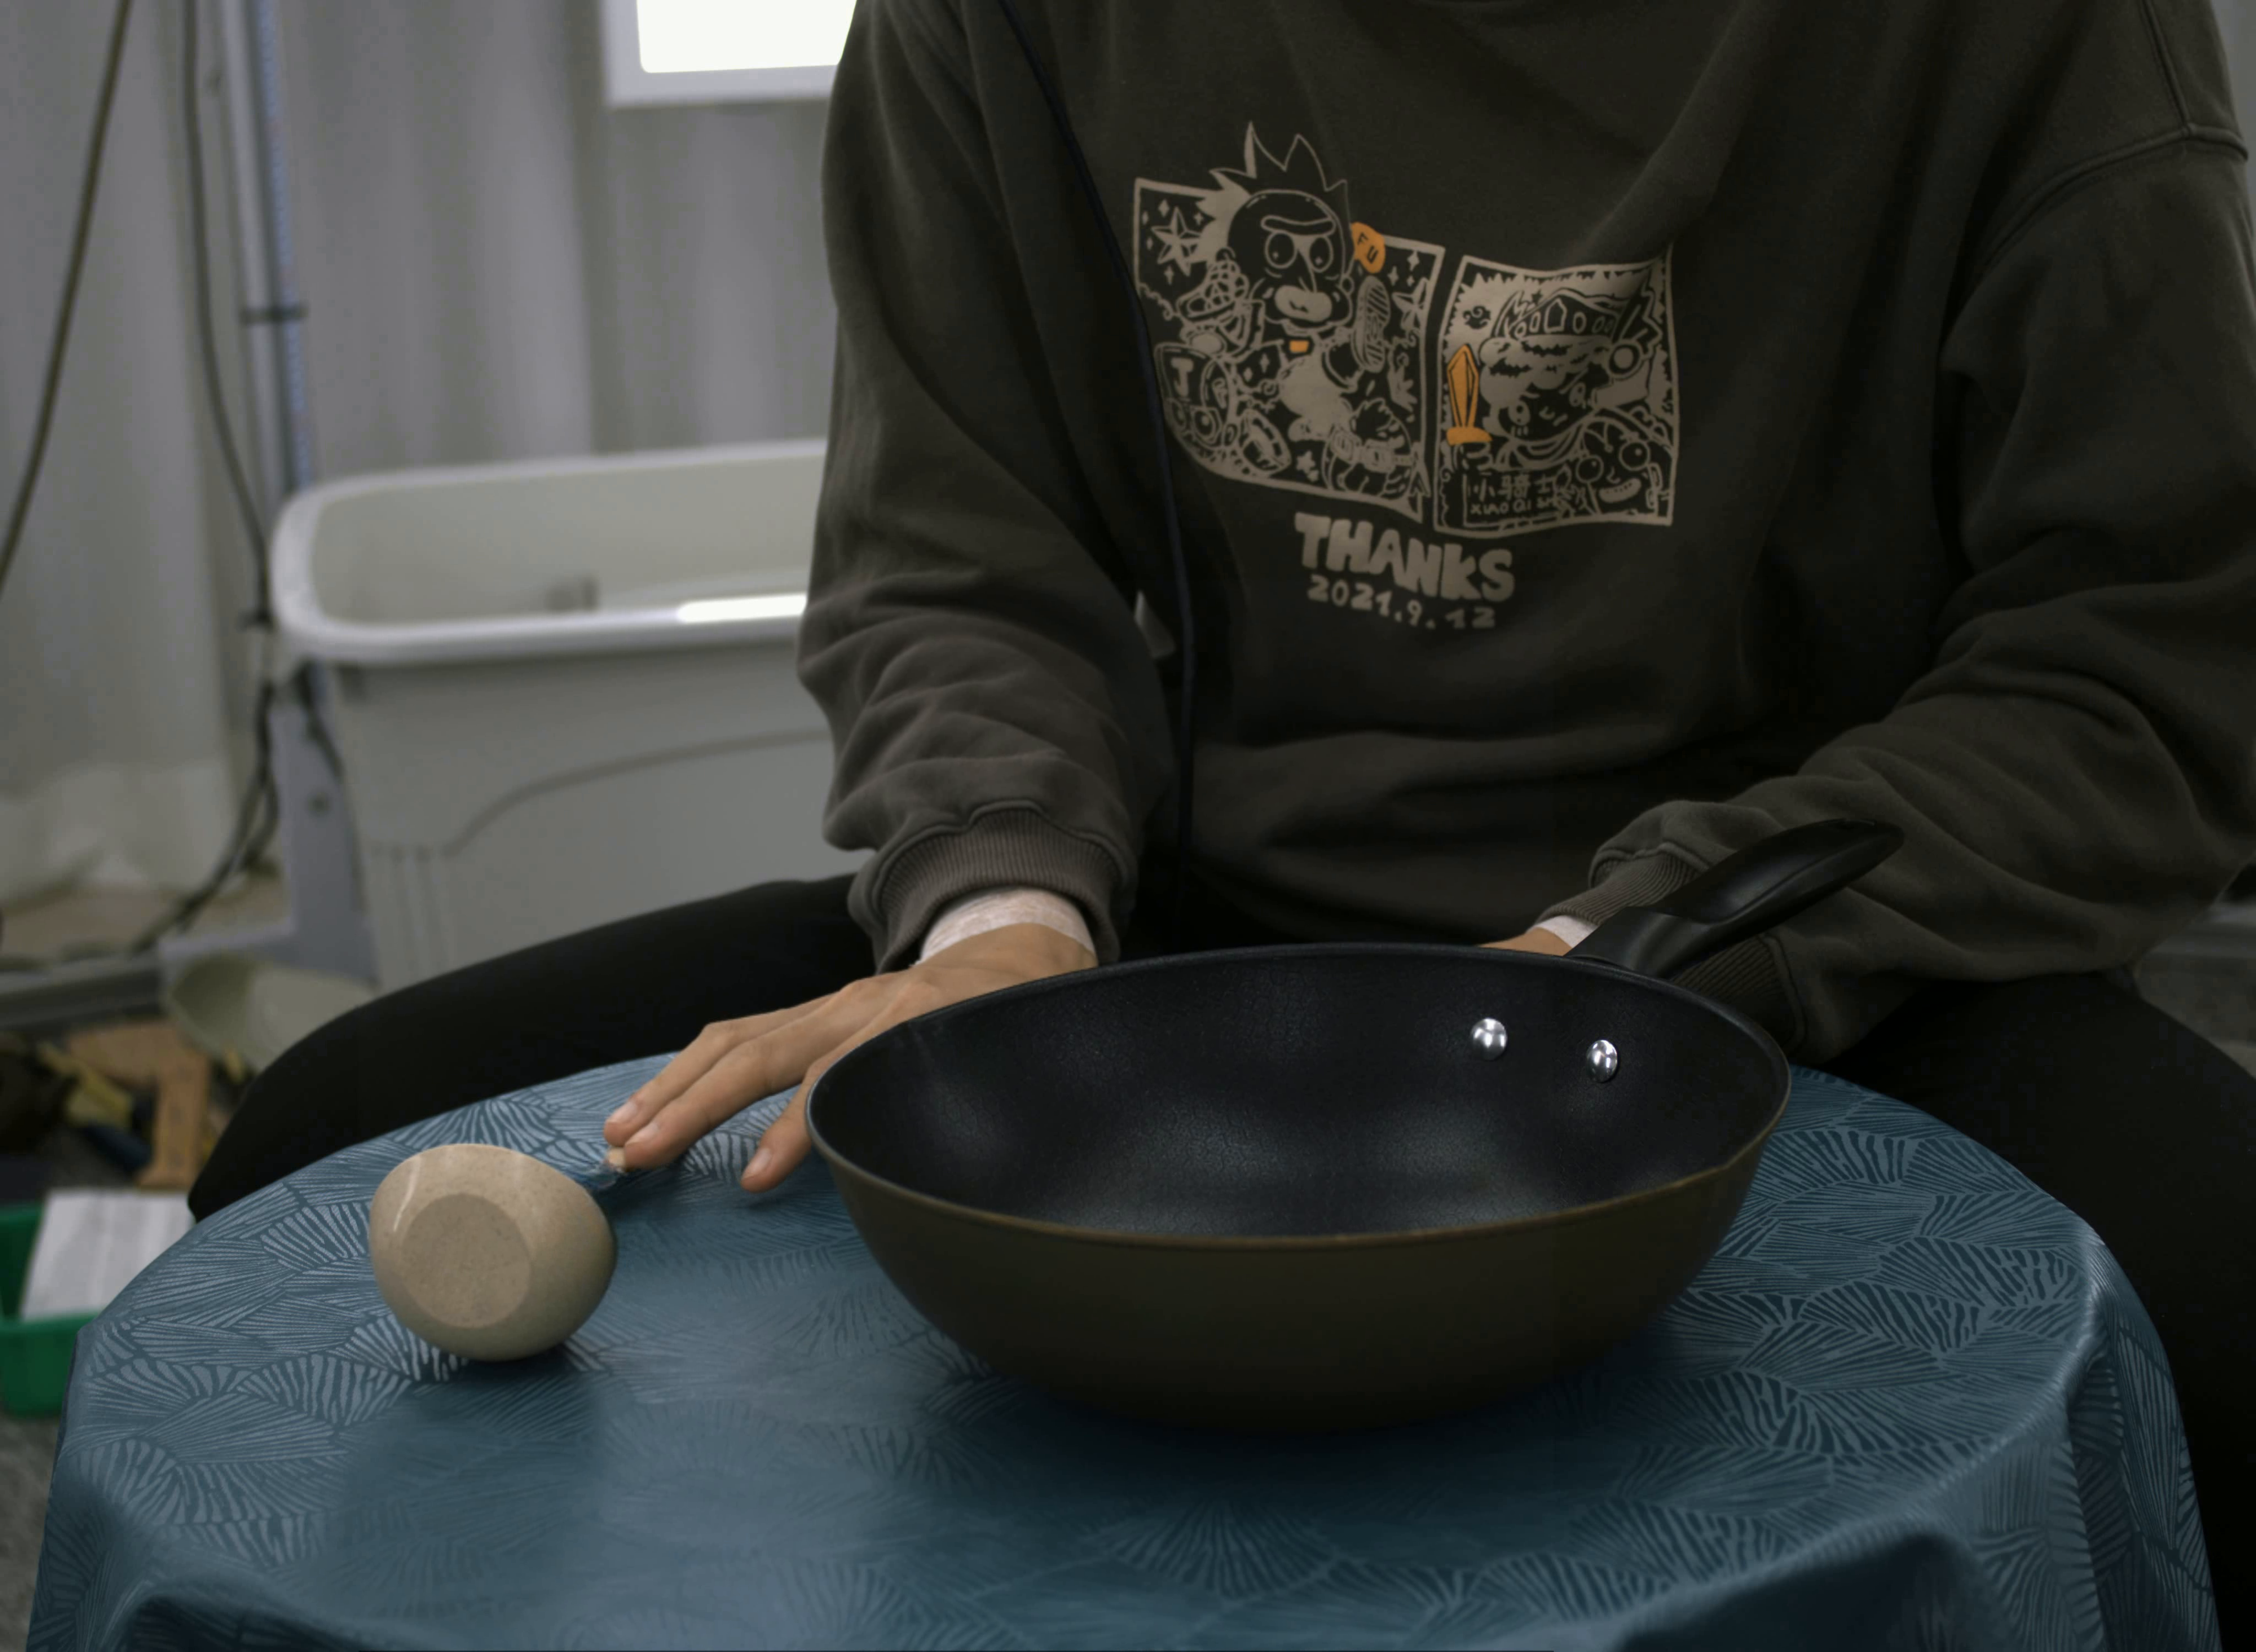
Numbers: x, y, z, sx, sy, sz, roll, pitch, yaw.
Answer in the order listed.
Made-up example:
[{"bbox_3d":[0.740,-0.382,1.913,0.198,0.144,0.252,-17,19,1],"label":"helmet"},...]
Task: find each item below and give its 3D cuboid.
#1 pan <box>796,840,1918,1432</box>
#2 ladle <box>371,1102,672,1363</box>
[{"bbox_3d":[0.103,0.089,1.639,0.289,0.086,0.463,8,18,37],"label":"pan"},{"bbox_3d":[-0.175,0.095,1.690,0.072,0.072,0.256,-6,15,7],"label":"ladle"}]
